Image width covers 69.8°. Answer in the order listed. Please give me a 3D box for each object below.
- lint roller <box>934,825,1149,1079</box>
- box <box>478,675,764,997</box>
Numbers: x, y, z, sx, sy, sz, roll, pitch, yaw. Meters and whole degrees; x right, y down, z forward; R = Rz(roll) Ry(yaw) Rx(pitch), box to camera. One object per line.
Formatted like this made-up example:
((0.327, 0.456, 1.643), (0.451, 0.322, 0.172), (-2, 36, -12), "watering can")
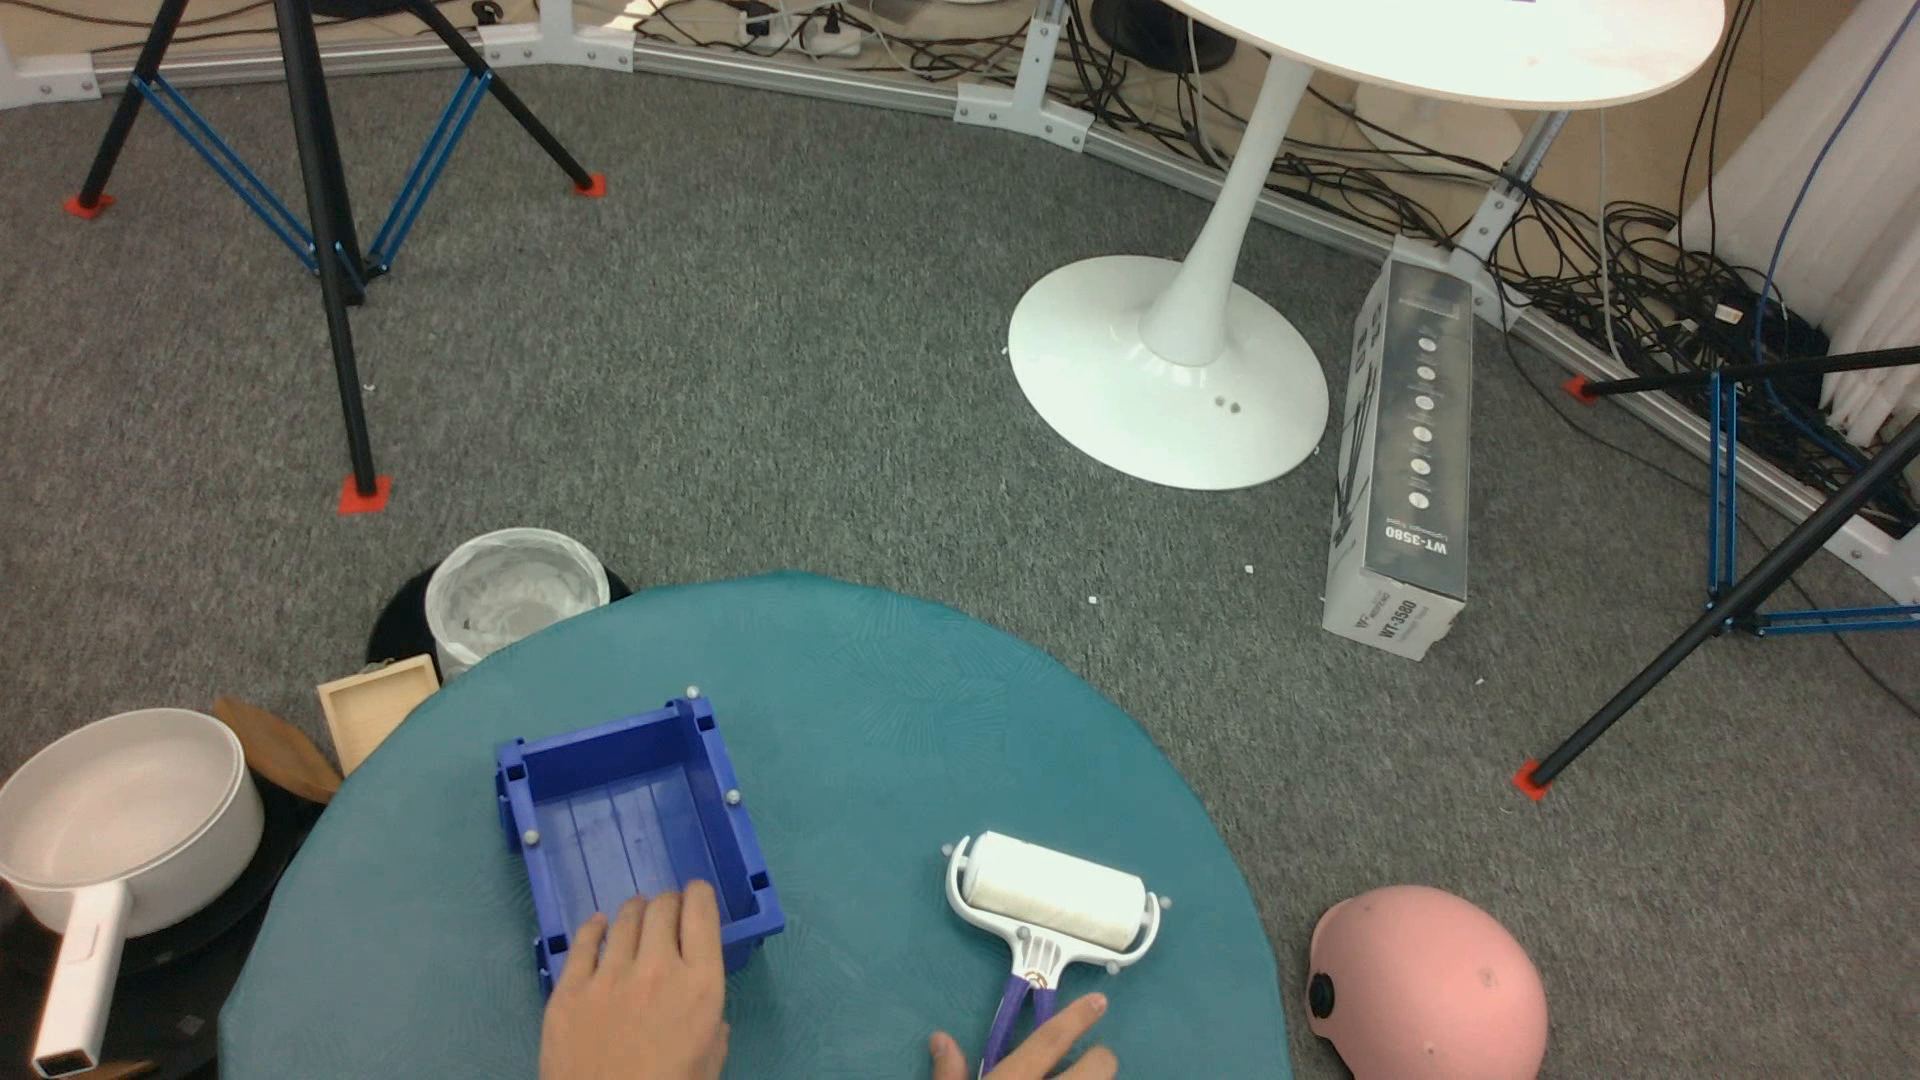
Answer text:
((0.035, 0.258, 0.801), (0.133, 0.050, 0.182), (19, 48, 0), "lint roller")
((-0.202, 0.163, 0.794), (0.125, 0.081, 0.180), (-12, 58, -22), "box")
